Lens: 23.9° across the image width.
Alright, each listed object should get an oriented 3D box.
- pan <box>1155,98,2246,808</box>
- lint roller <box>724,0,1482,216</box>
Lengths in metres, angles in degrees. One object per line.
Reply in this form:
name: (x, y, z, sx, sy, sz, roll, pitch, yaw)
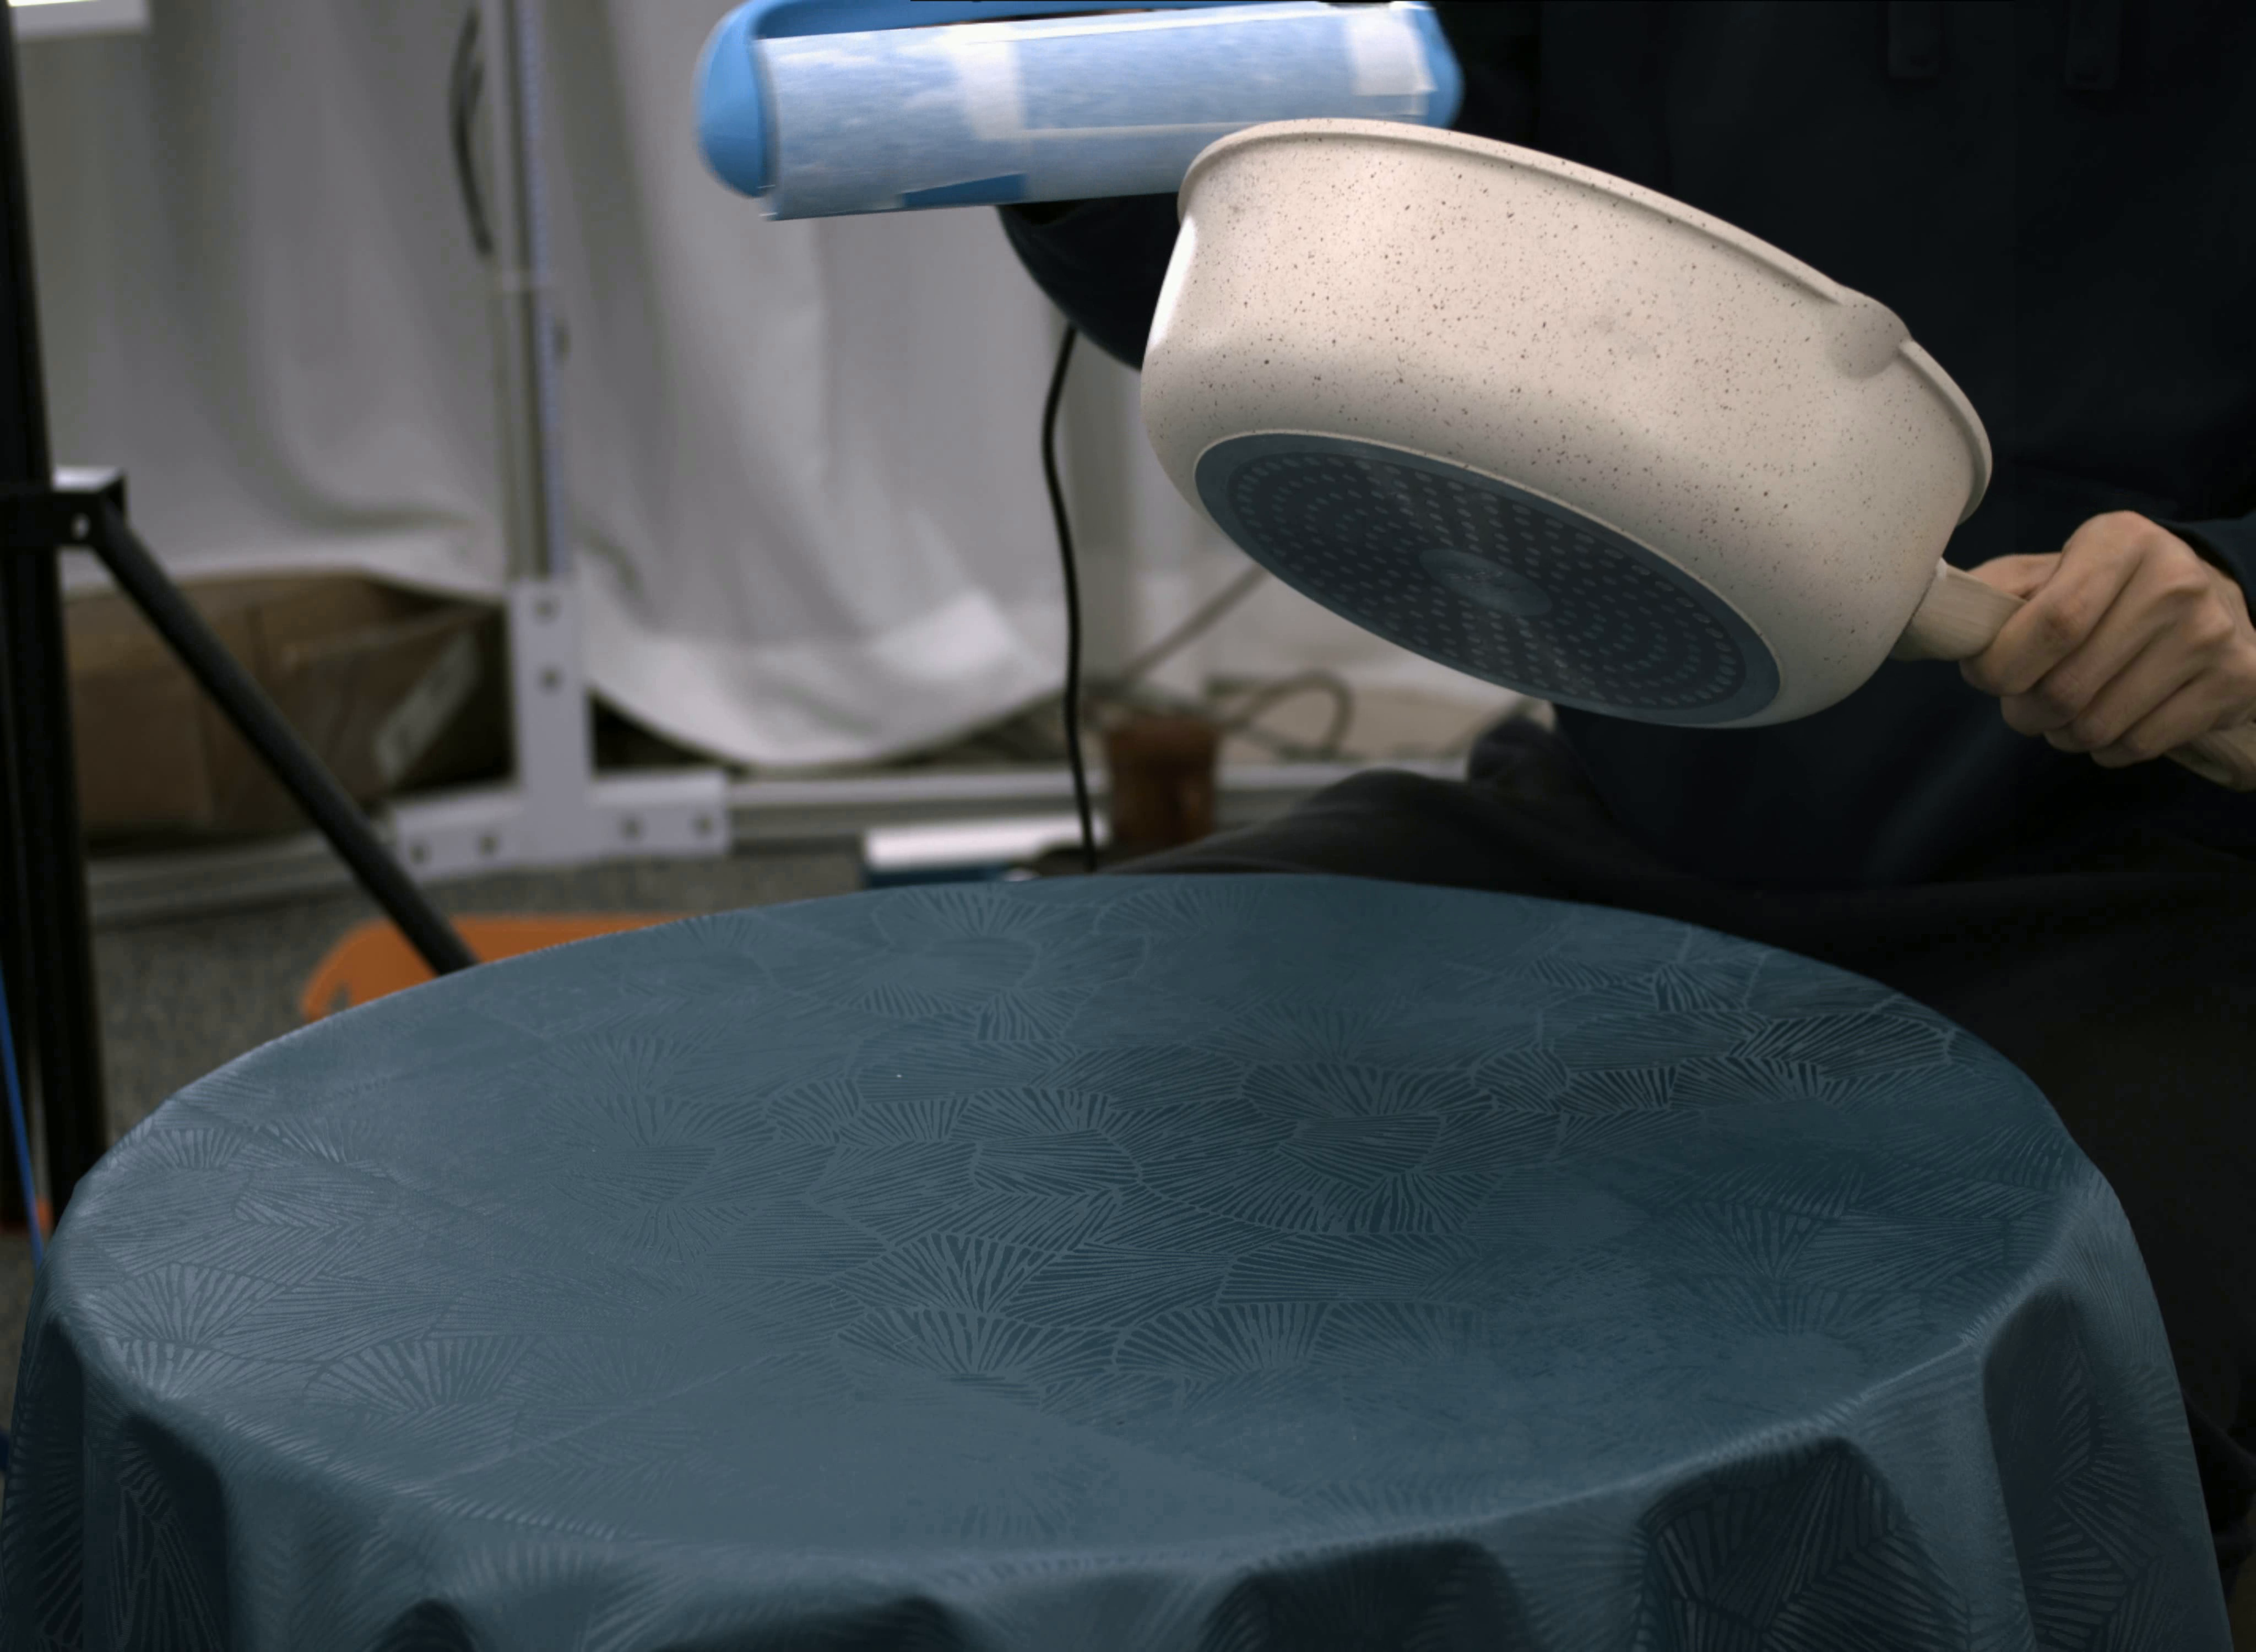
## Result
pan: (0.190, -0.073, 1.583, 0.425, 0.102, 0.269, 32, -18, -31)
lint roller: (-0.023, -0.231, 1.624, 0.225, 0.068, 0.183, -8, 18, -13)
